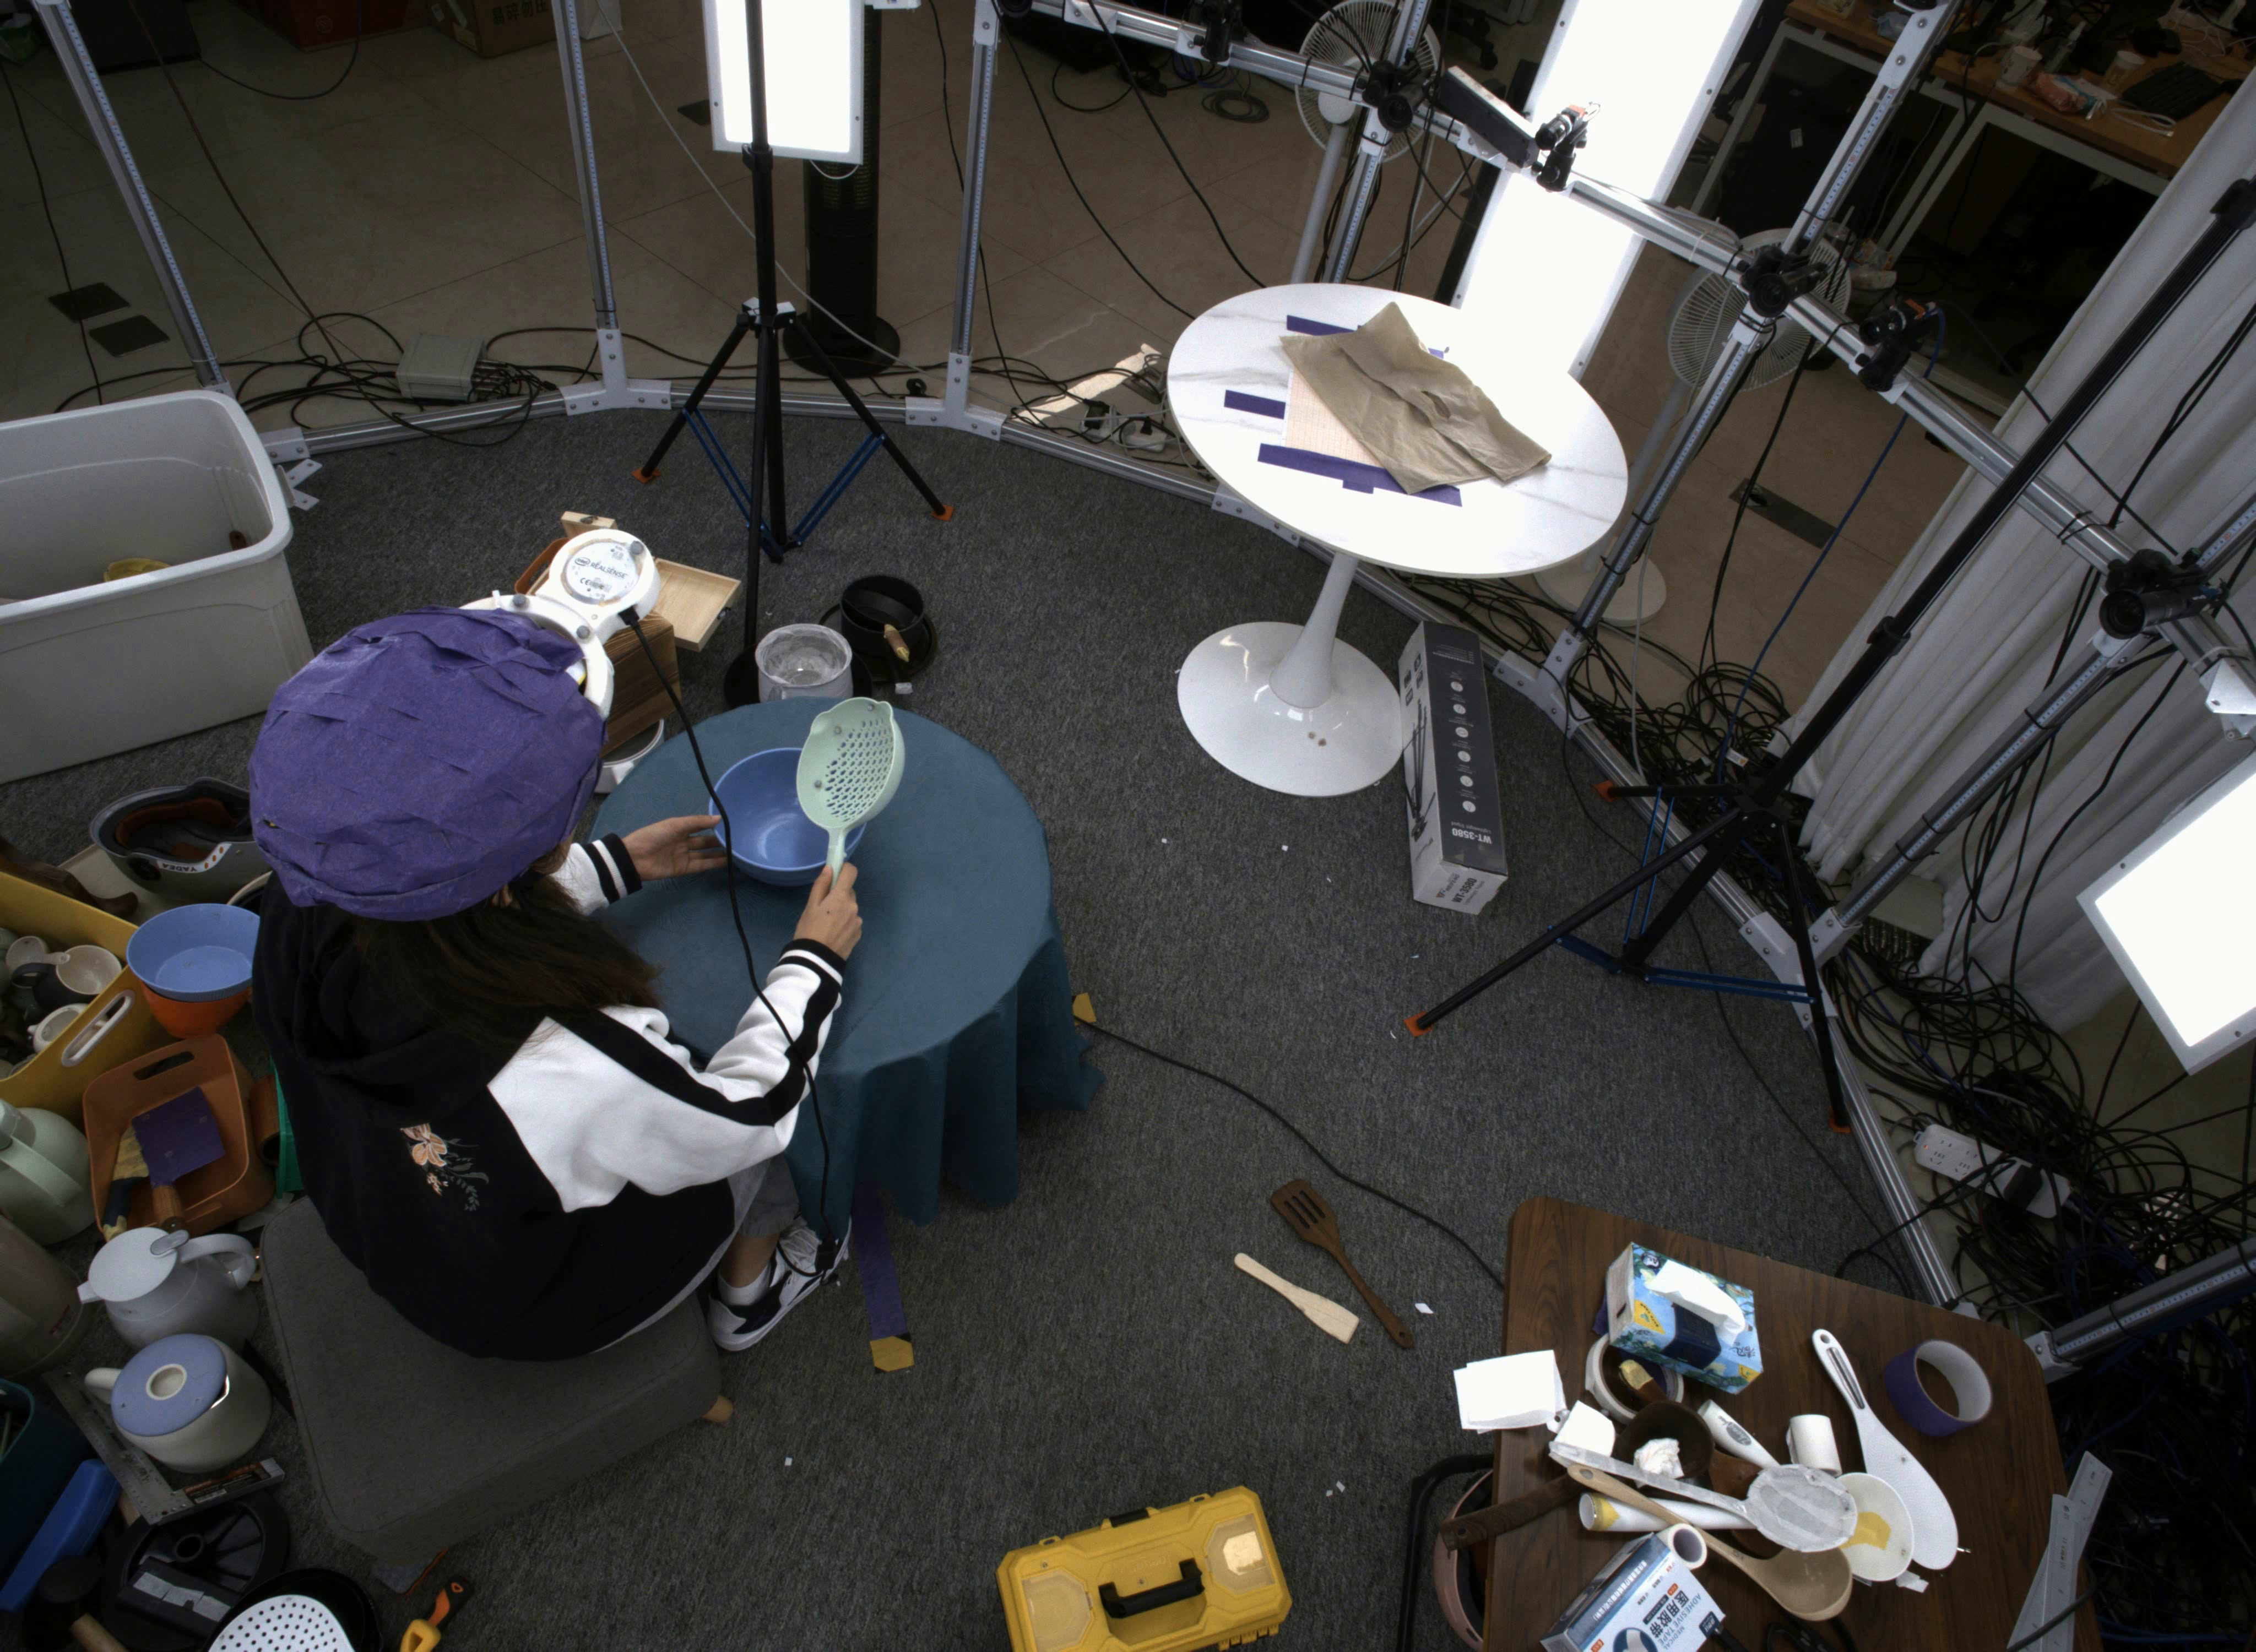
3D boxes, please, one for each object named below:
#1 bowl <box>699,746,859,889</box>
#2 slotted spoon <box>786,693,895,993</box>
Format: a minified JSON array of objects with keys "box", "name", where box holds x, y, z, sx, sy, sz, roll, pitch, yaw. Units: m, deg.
[{"box":[-0.442,0.004,1.650,0.196,0.097,0.193,8,52,-9],"name":"bowl"},{"box":[-0.360,0.017,1.587,0.164,0.078,0.357,-5,68,32],"name":"slotted spoon"}]
